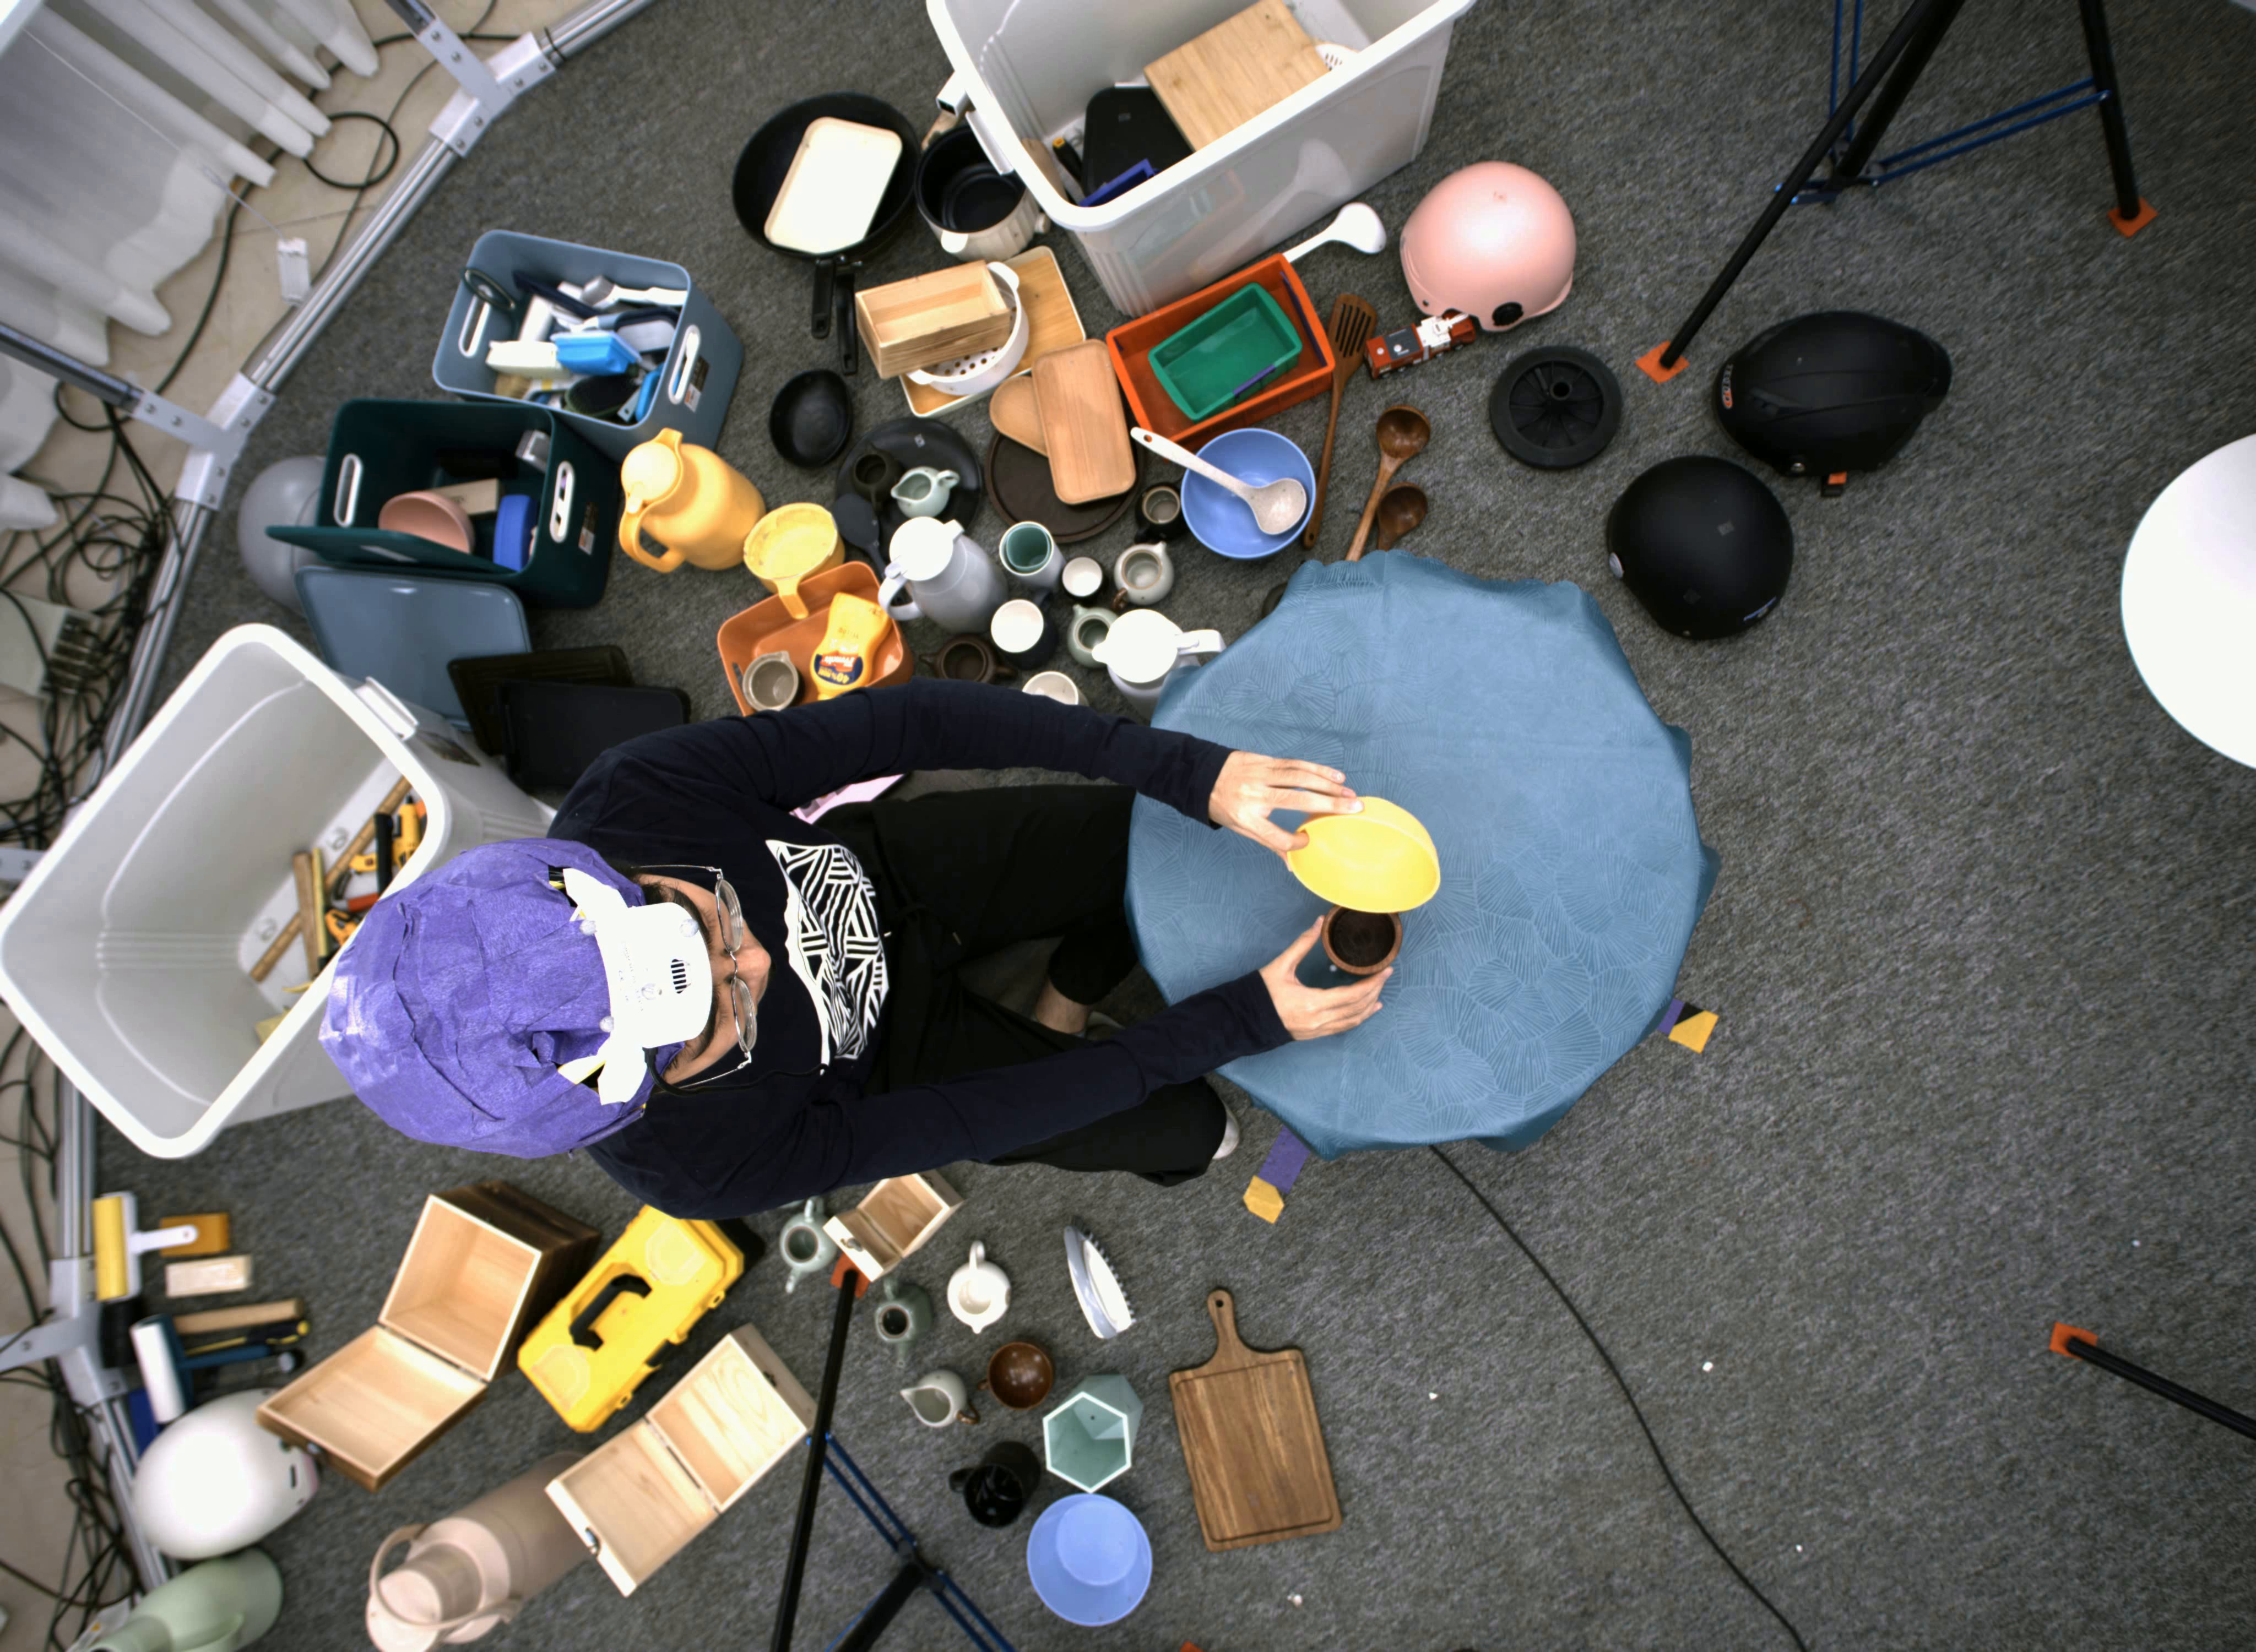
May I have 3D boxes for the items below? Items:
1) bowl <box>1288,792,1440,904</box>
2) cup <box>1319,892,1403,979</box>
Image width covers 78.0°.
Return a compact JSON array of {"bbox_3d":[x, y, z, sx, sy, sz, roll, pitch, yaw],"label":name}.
[{"bbox_3d":[0.228,0.009,1.302,0.145,0.148,0.059,15,62,11],"label":"bowl"},{"bbox_3d":[0.237,0.113,1.403,0.088,0.119,0.087,-1,82,10],"label":"cup"}]
